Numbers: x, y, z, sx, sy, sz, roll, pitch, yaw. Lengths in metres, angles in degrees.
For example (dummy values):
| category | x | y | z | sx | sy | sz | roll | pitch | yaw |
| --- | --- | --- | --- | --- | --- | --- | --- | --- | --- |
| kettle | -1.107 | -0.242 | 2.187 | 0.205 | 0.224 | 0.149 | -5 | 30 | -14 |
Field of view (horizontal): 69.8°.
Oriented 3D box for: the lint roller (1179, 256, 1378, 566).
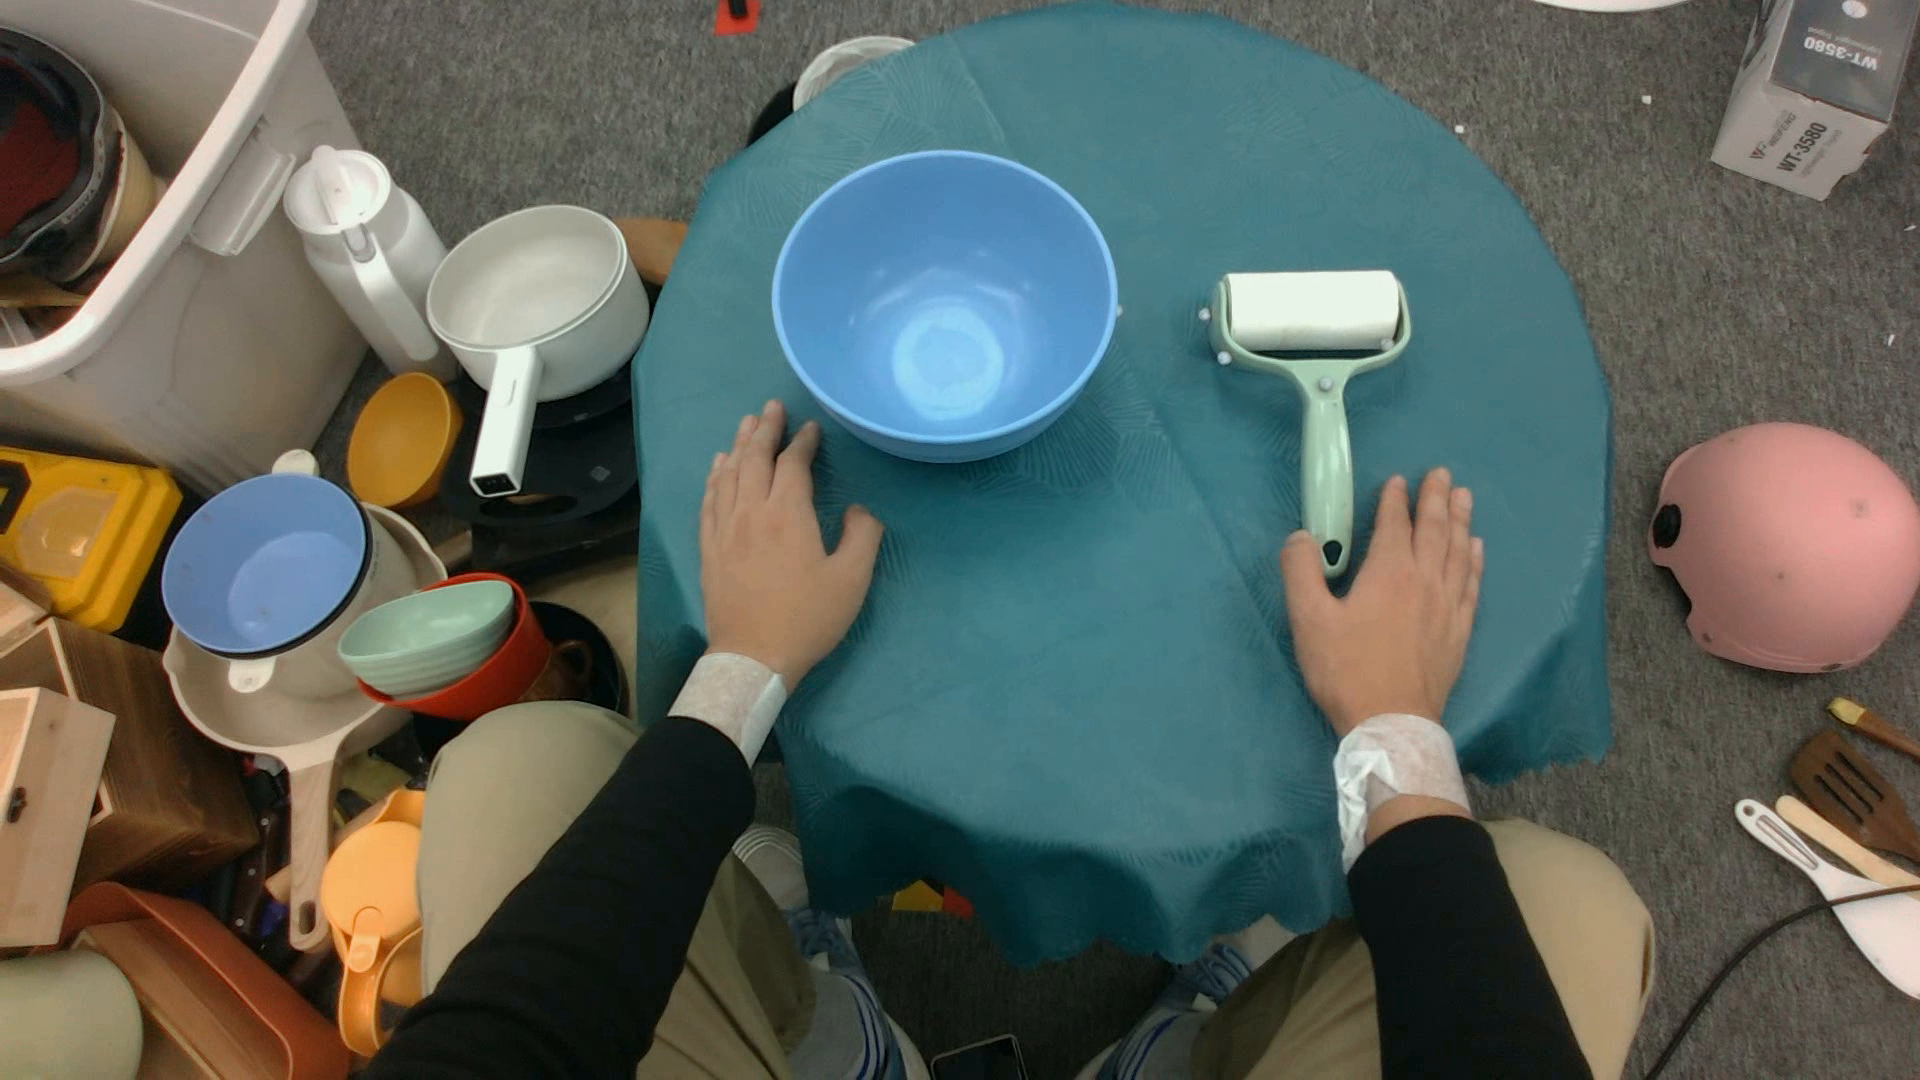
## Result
| category | x | y | z | sx | sy | sz | roll | pitch | yaw |
| --- | --- | --- | --- | --- | --- | --- | --- | --- | --- |
| lint roller | 0.196 | -0.082 | 0.824 | 0.116 | 0.048 | 0.198 | -1 | 67 | -2 |

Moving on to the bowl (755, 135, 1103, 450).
| category | x | y | z | sx | sy | sz | roll | pitch | yaw |
| --- | --- | --- | --- | --- | --- | --- | --- | --- | --- |
| bowl | -0.018 | -0.131 | 0.817 | 0.196 | 0.095 | 0.197 | 1 | 66 | -1 |
